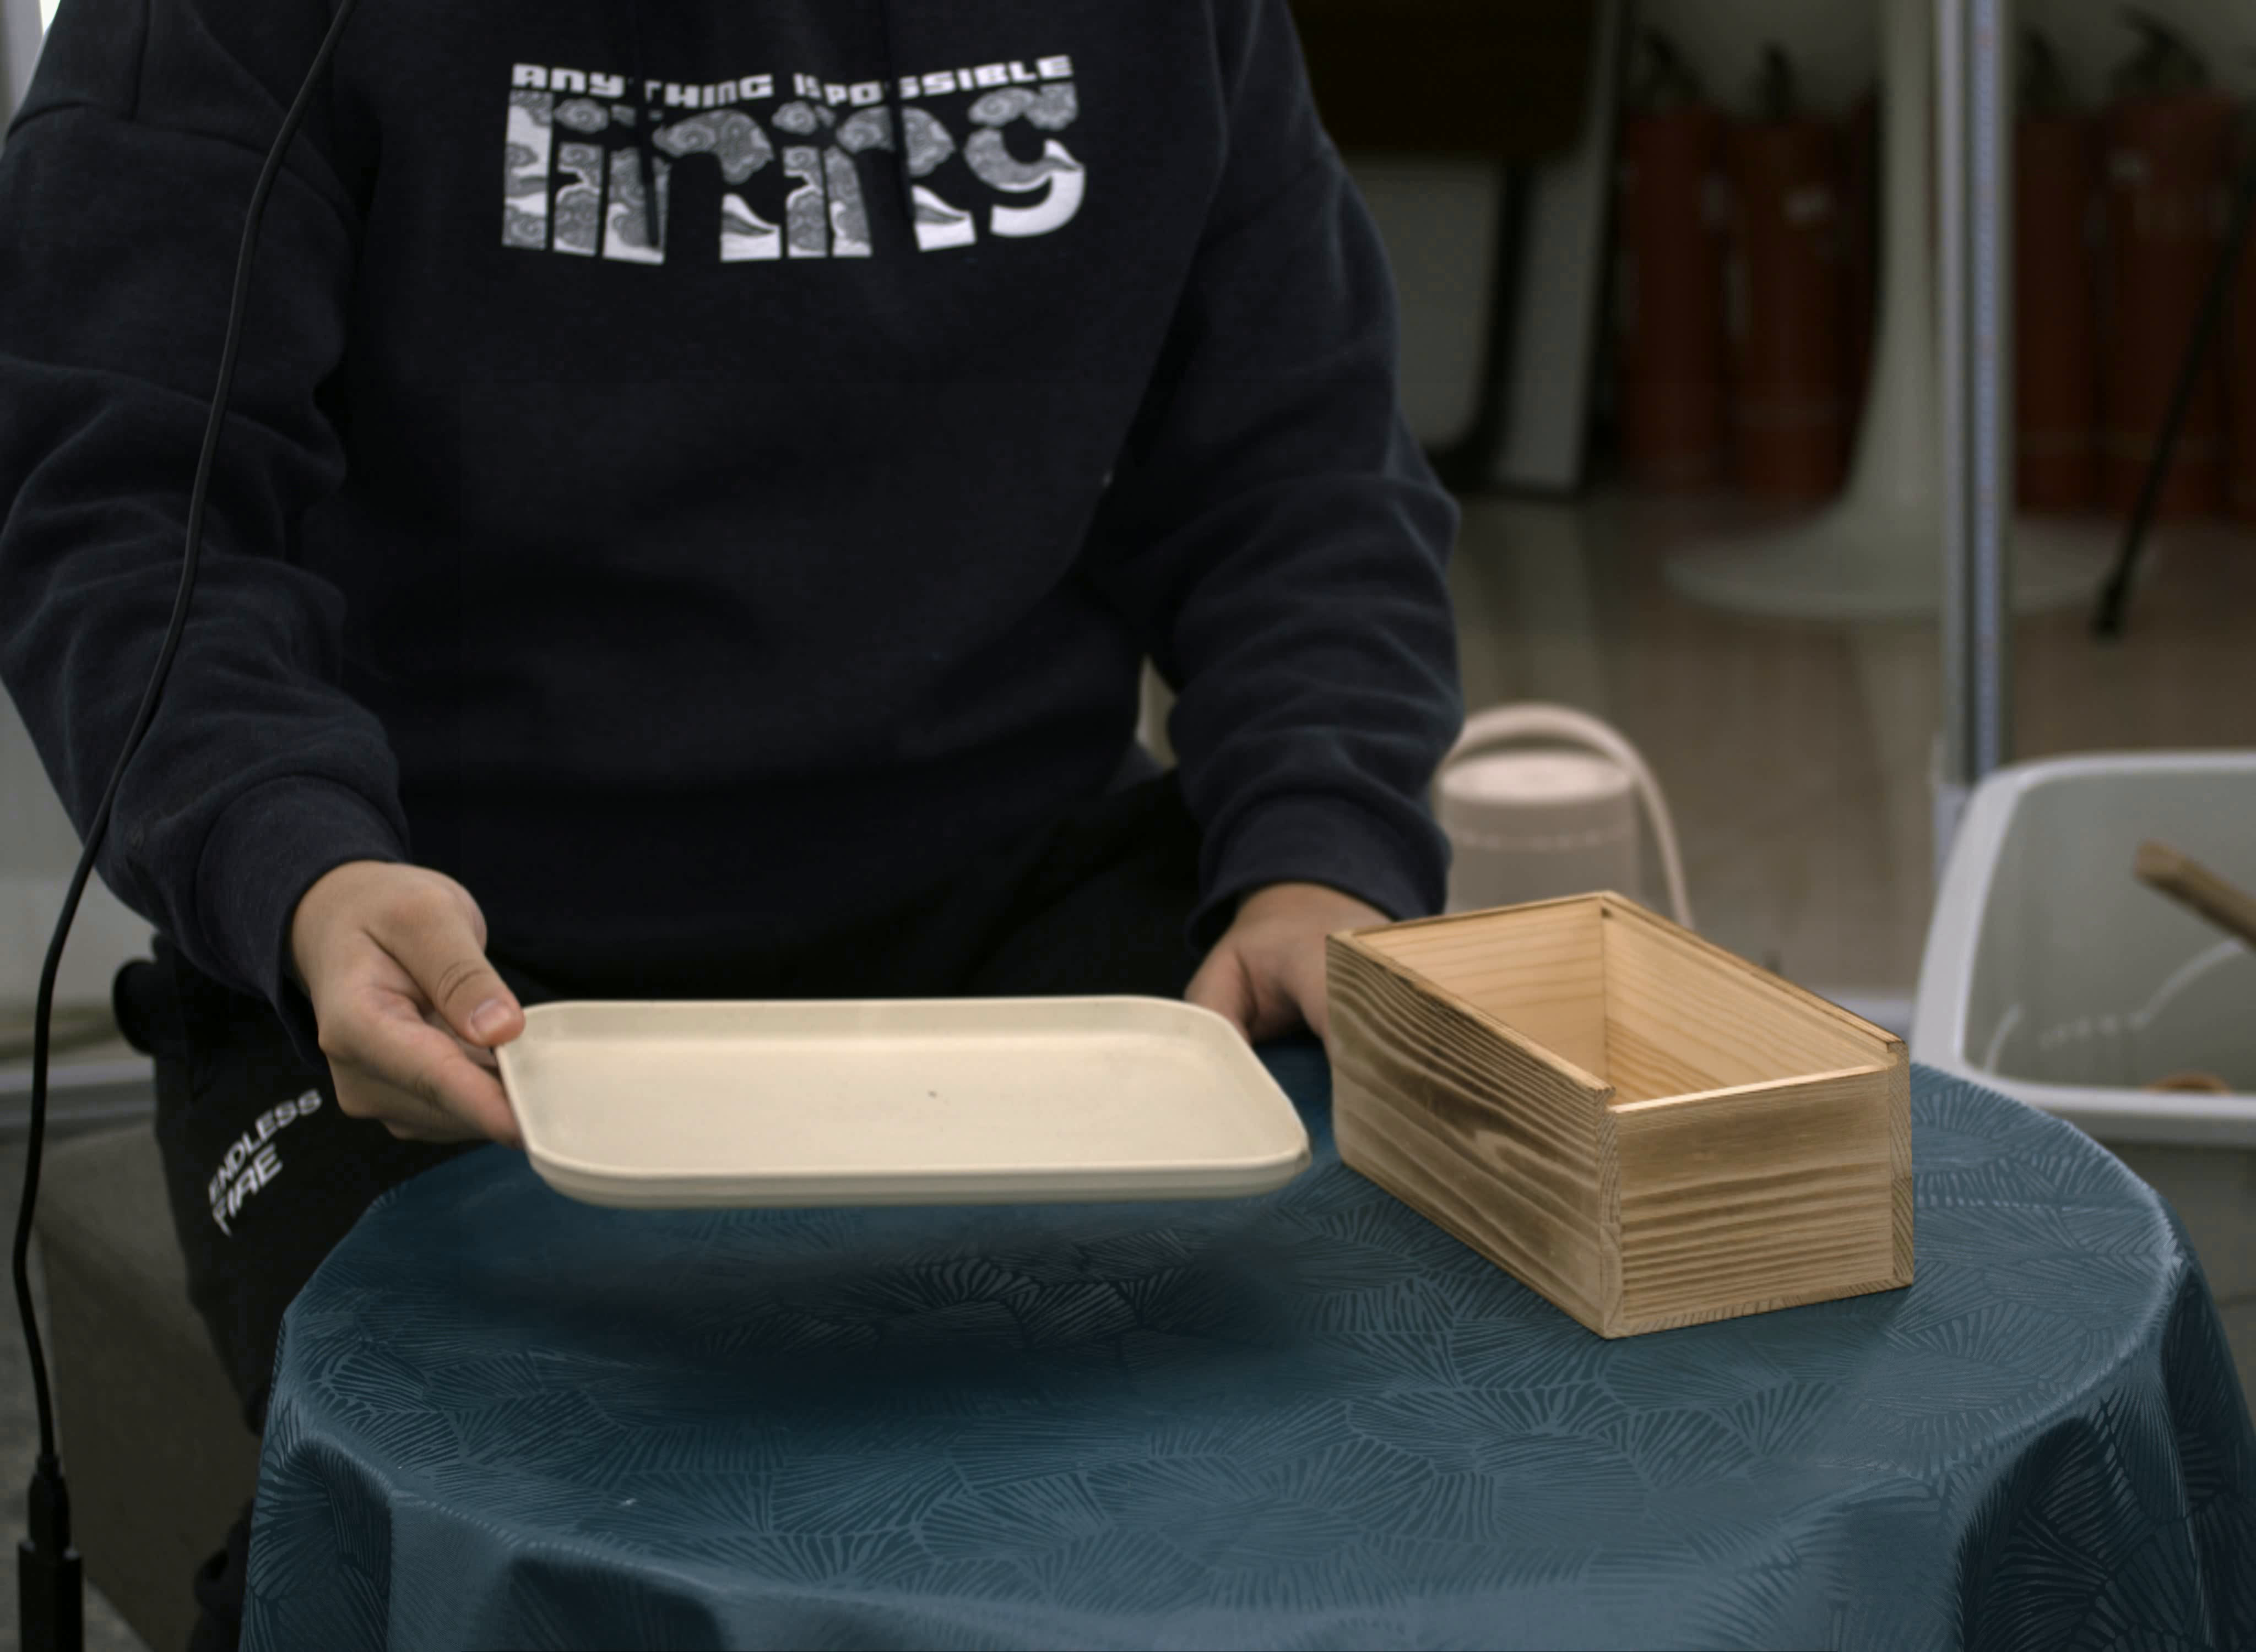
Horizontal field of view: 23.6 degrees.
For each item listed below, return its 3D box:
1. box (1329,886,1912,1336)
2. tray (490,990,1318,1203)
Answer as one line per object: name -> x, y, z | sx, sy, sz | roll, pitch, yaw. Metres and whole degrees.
box -> 0.152, 0.086, 1.705 | 0.105, 0.081, 0.213 | -8, 14, -19
tray -> -0.070, 0.082, 1.644 | 0.235, 0.018, 0.172 | -1, 14, -11
